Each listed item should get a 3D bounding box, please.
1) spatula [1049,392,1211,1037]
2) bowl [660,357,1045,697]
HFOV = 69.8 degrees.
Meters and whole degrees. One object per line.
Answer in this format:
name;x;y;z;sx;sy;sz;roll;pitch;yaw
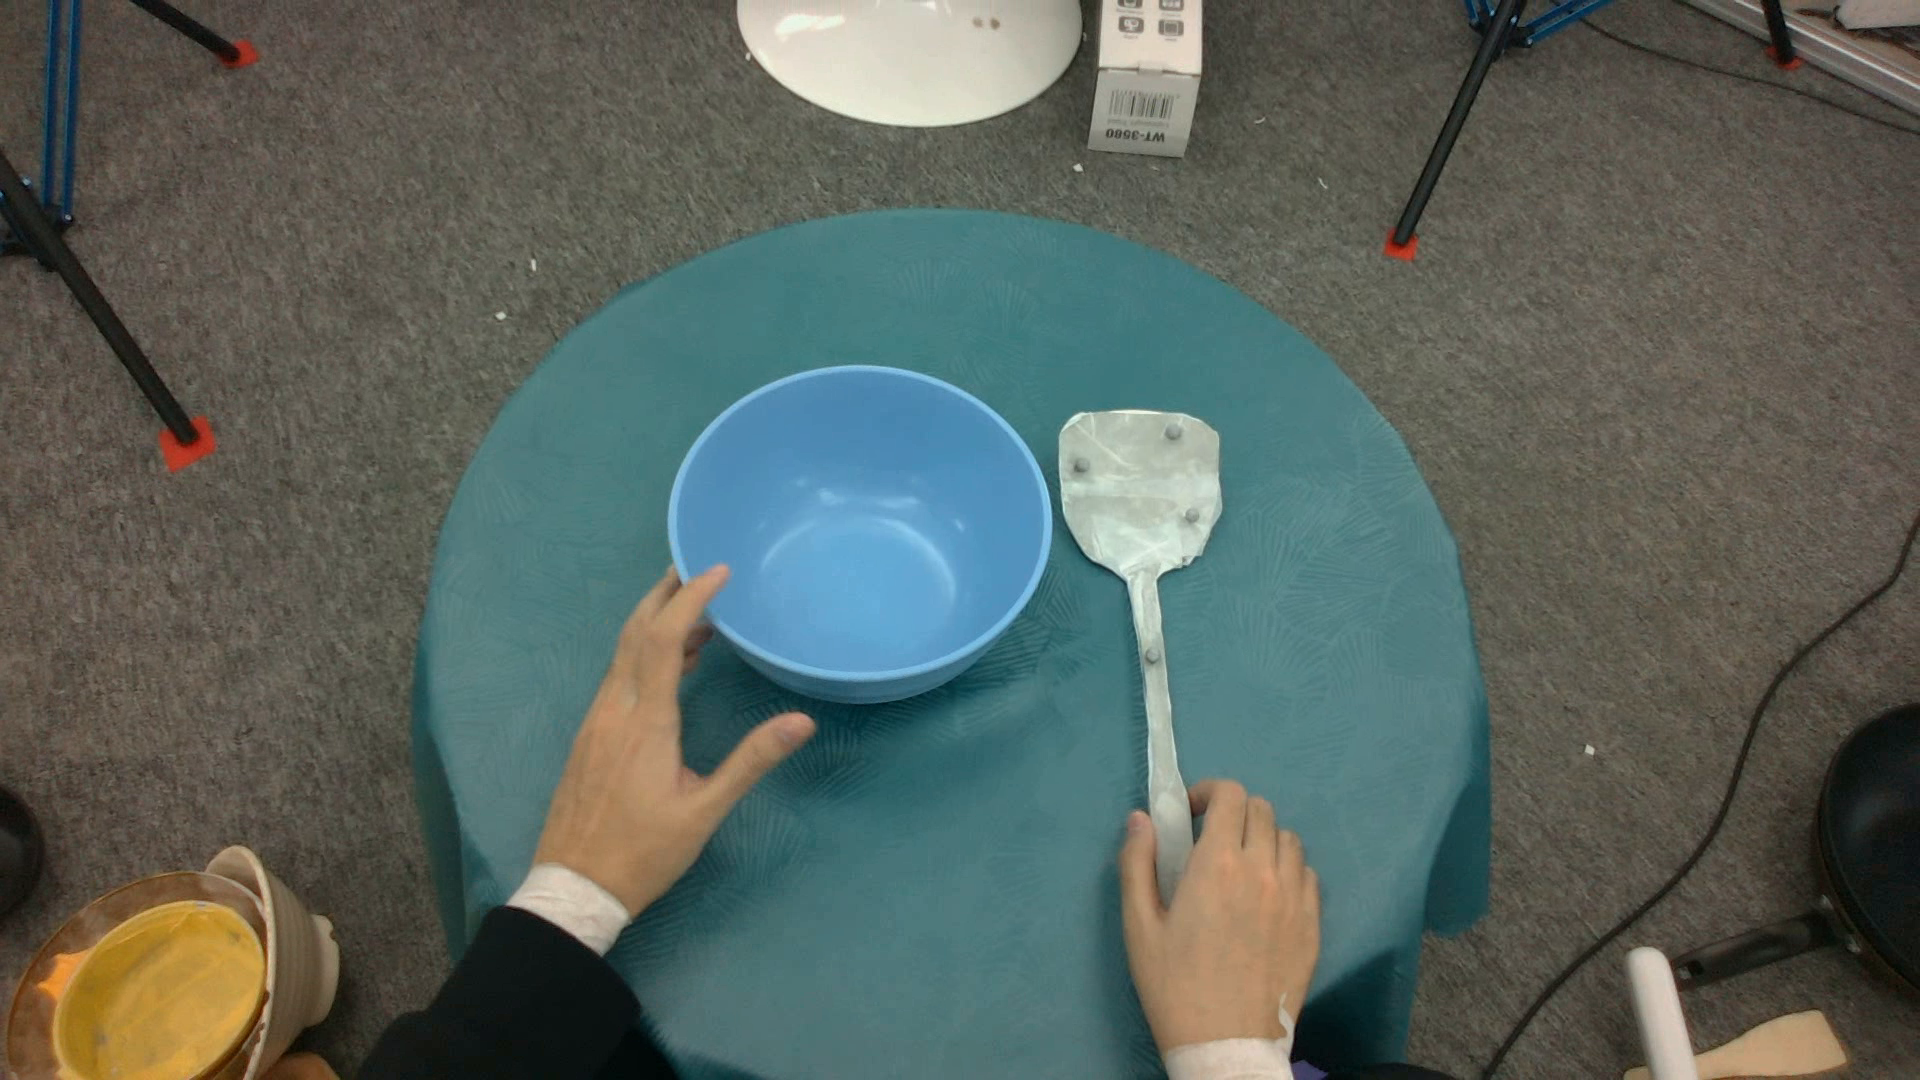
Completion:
spatula;0.100;0.075;0.742;0.099;0.044;0.366;3;56;-5
bowl;-0.057;0.006;0.741;0.196;0.095;0.197;3;56;-4
